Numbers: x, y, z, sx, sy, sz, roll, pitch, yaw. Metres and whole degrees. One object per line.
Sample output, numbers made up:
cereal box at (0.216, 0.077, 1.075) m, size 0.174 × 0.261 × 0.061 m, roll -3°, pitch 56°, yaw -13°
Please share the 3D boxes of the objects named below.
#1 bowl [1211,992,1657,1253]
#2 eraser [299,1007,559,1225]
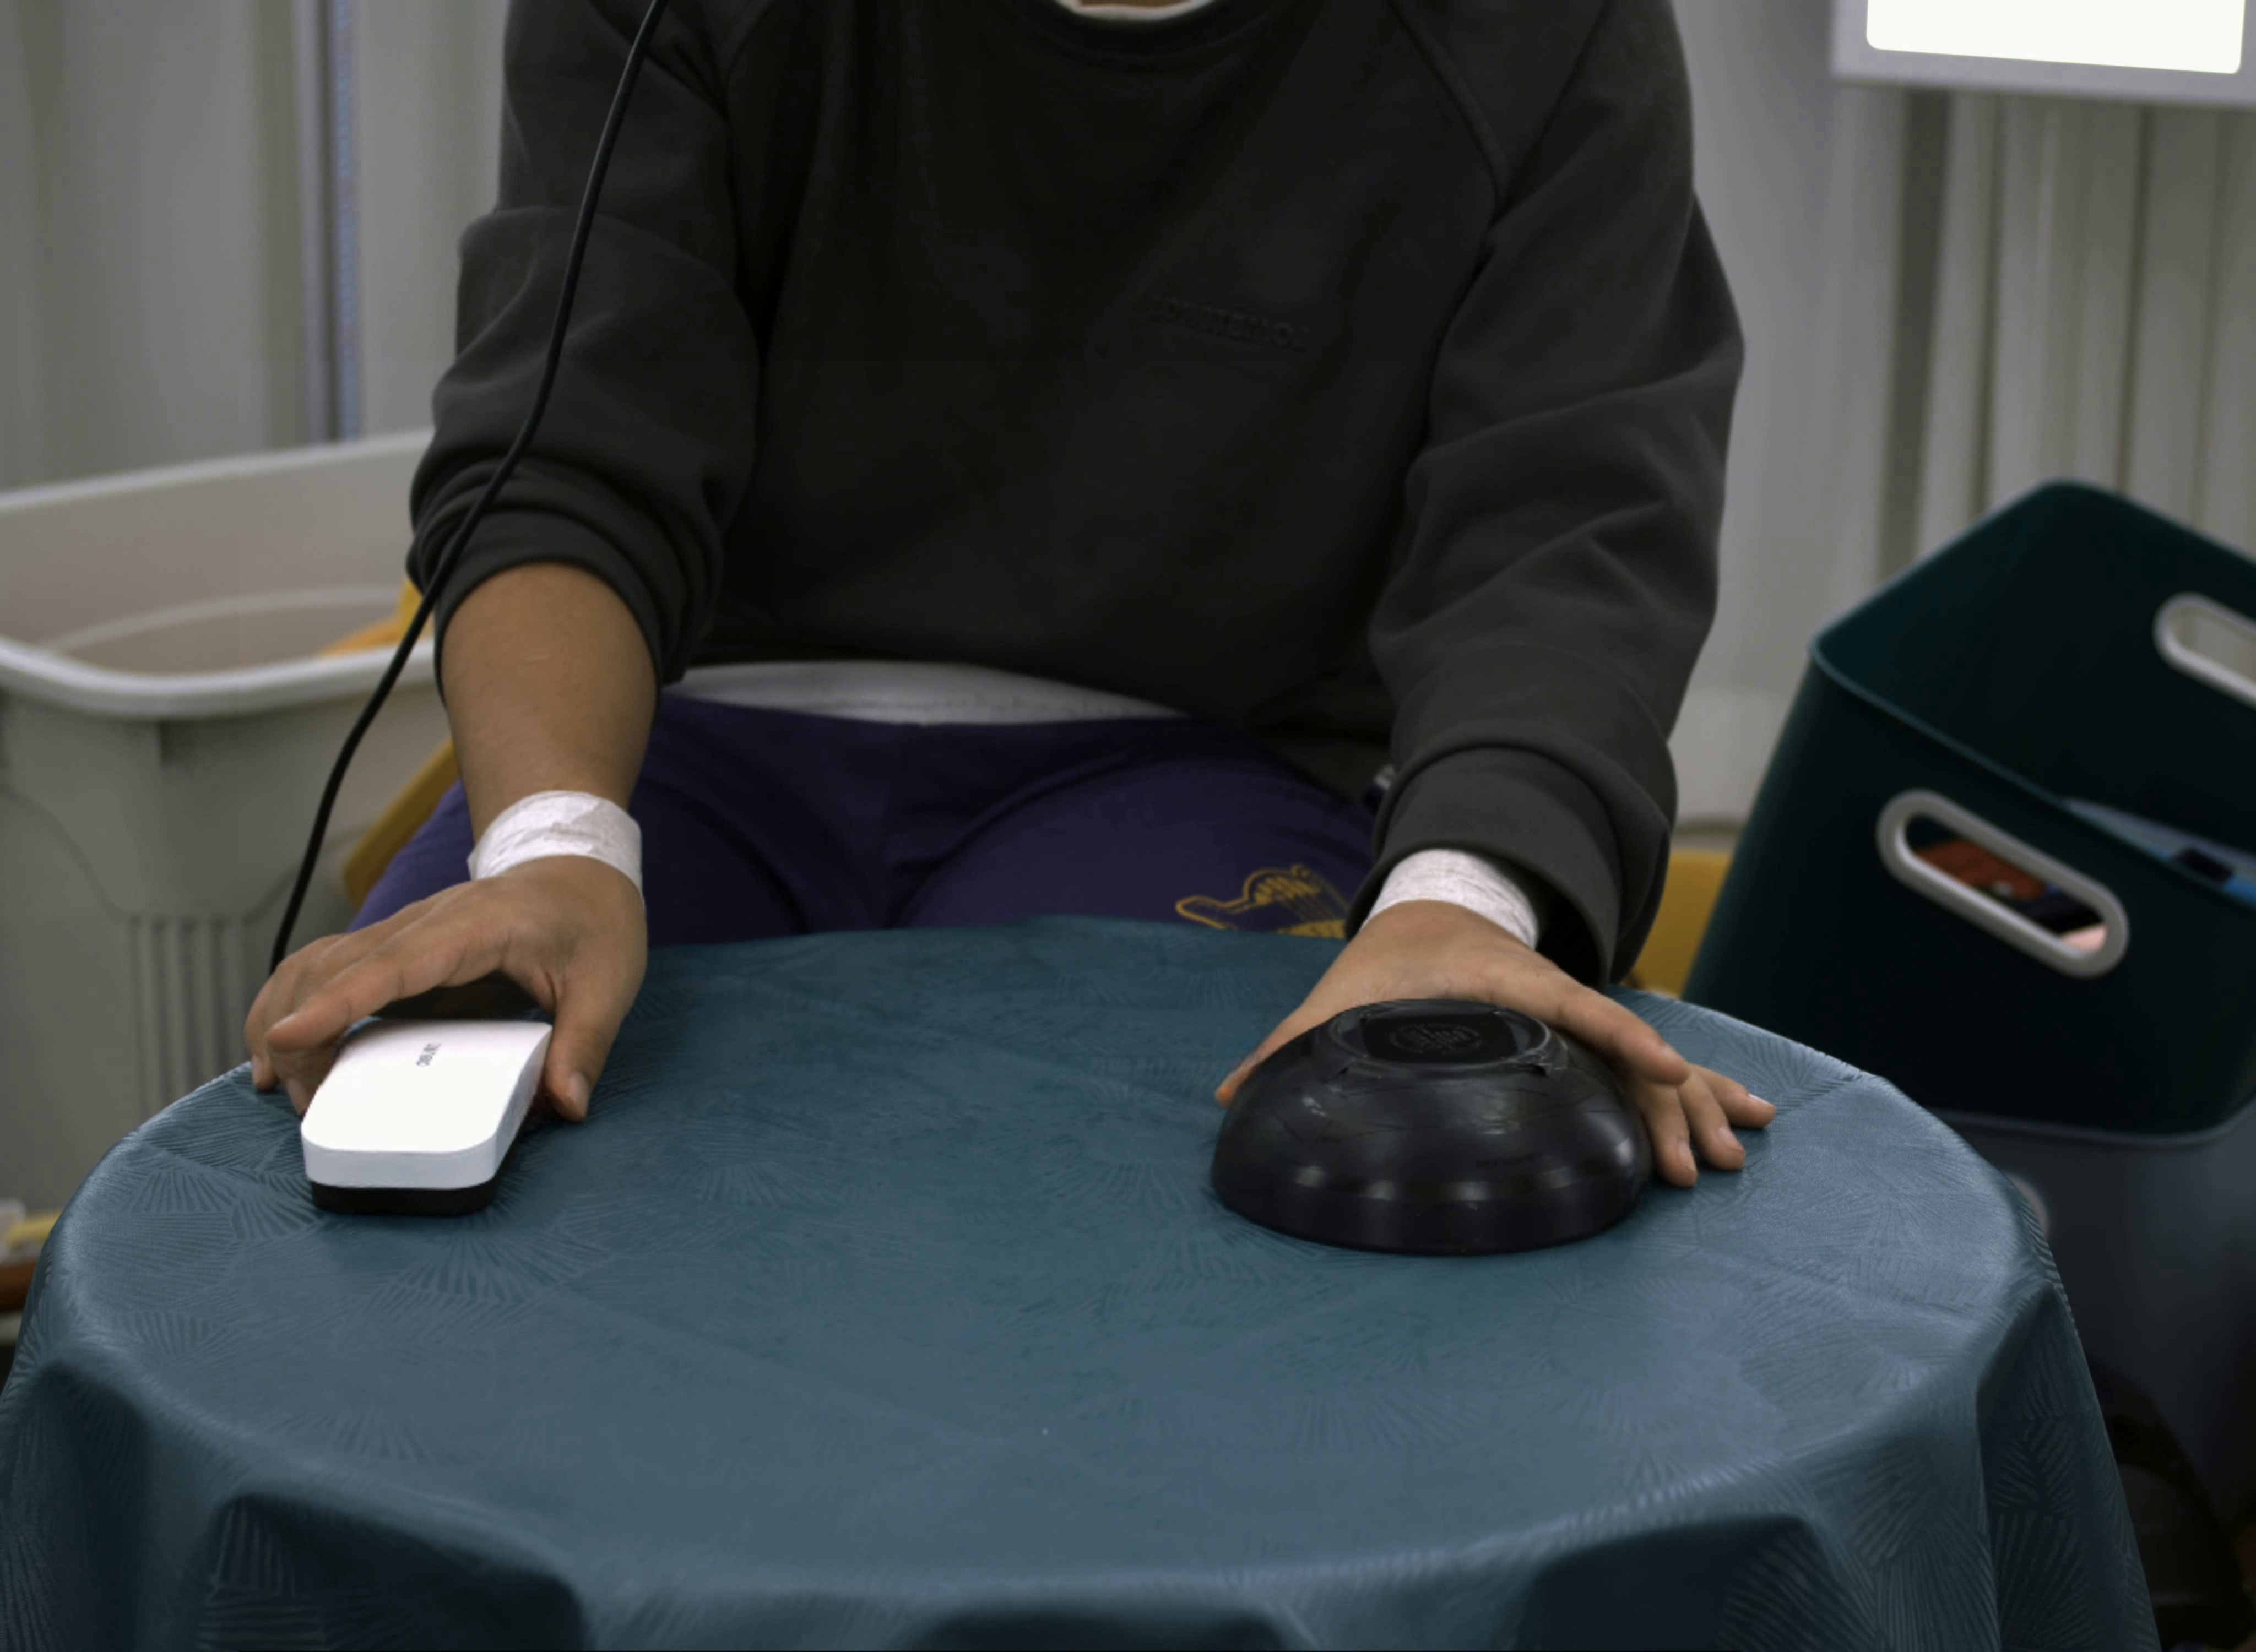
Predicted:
bowl at (0.094, 0.085, 1.627) m, size 0.139 × 0.050 × 0.139 m, roll -1°, pitch 17°, yaw 1°
eraser at (-0.216, 0.086, 1.648) m, size 0.063 × 0.035 × 0.131 m, roll 4°, pitch 18°, yaw 5°
